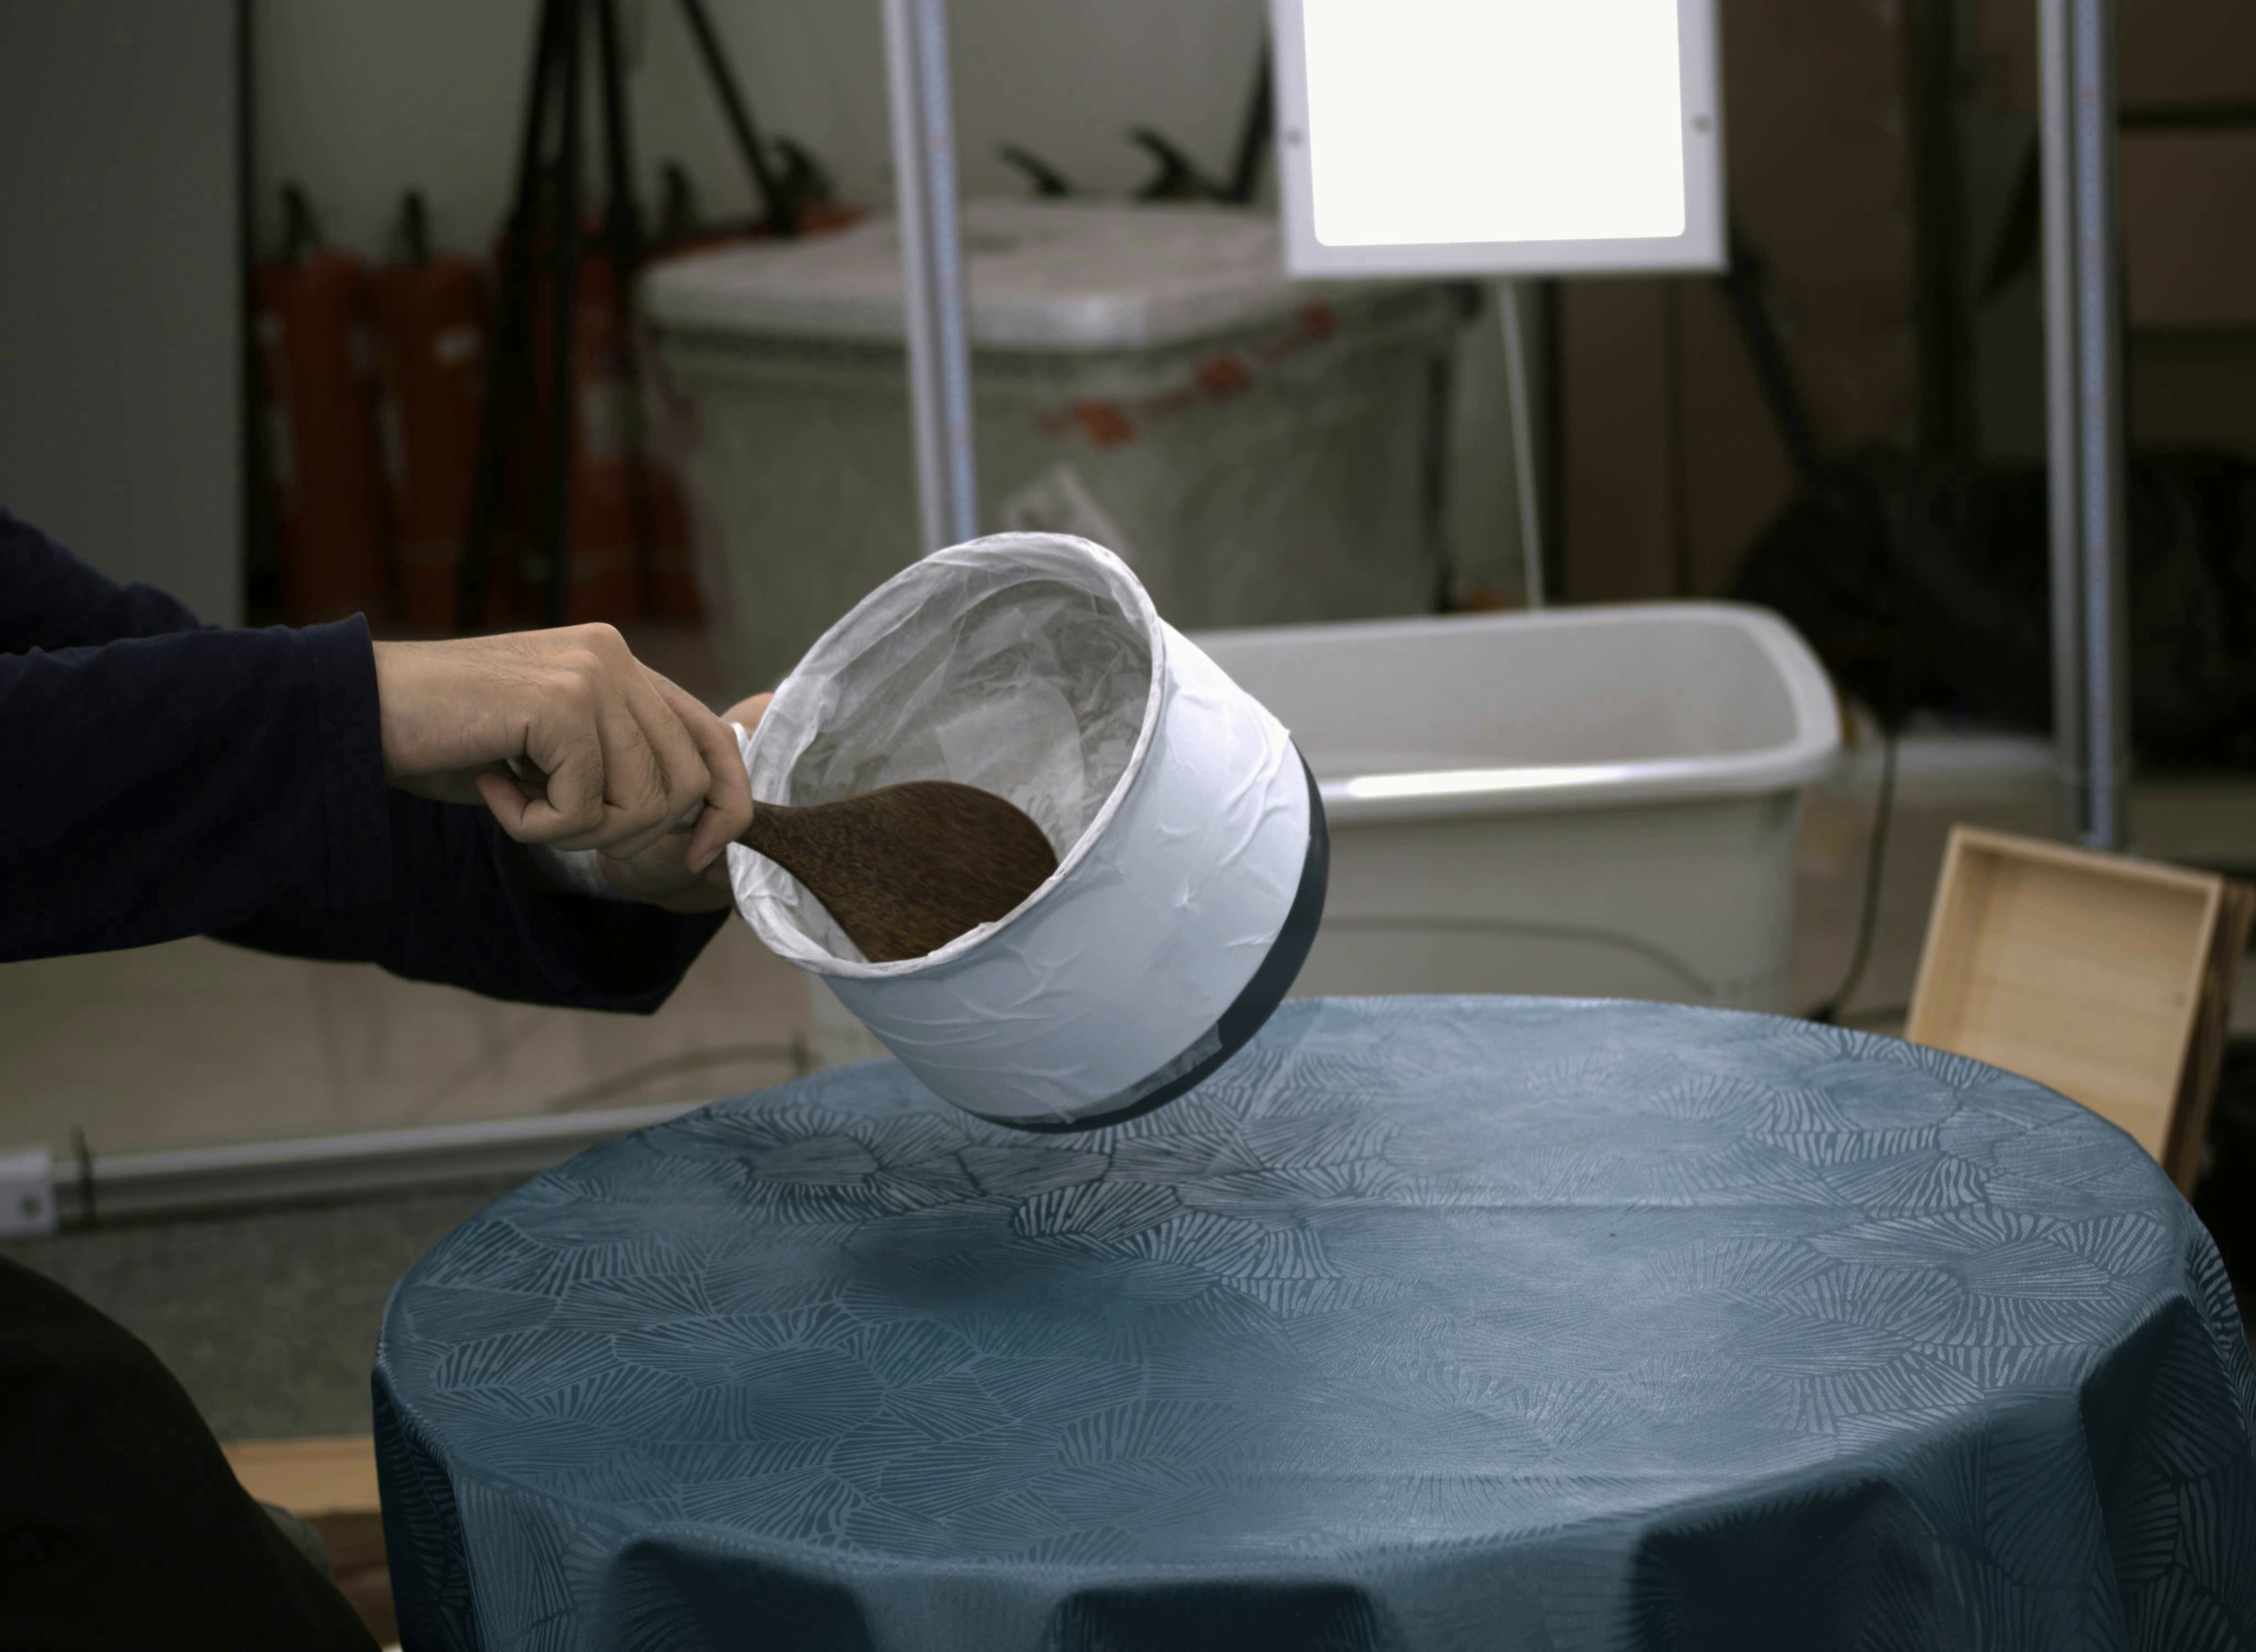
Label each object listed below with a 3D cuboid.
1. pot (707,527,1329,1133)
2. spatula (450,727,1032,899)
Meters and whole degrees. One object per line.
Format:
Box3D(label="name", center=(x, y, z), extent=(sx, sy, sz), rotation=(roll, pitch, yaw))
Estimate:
Box3D(label="pot", center=(-0.051, 0.006, 1.911), extent=(0.239, 0.135, 0.177), rotation=(1, 58, 39))
Box3D(label="spatula", center=(-0.128, -0.009, 1.810), extent=(0.211, 0.073, 0.009), rotation=(8, 38, -32))
